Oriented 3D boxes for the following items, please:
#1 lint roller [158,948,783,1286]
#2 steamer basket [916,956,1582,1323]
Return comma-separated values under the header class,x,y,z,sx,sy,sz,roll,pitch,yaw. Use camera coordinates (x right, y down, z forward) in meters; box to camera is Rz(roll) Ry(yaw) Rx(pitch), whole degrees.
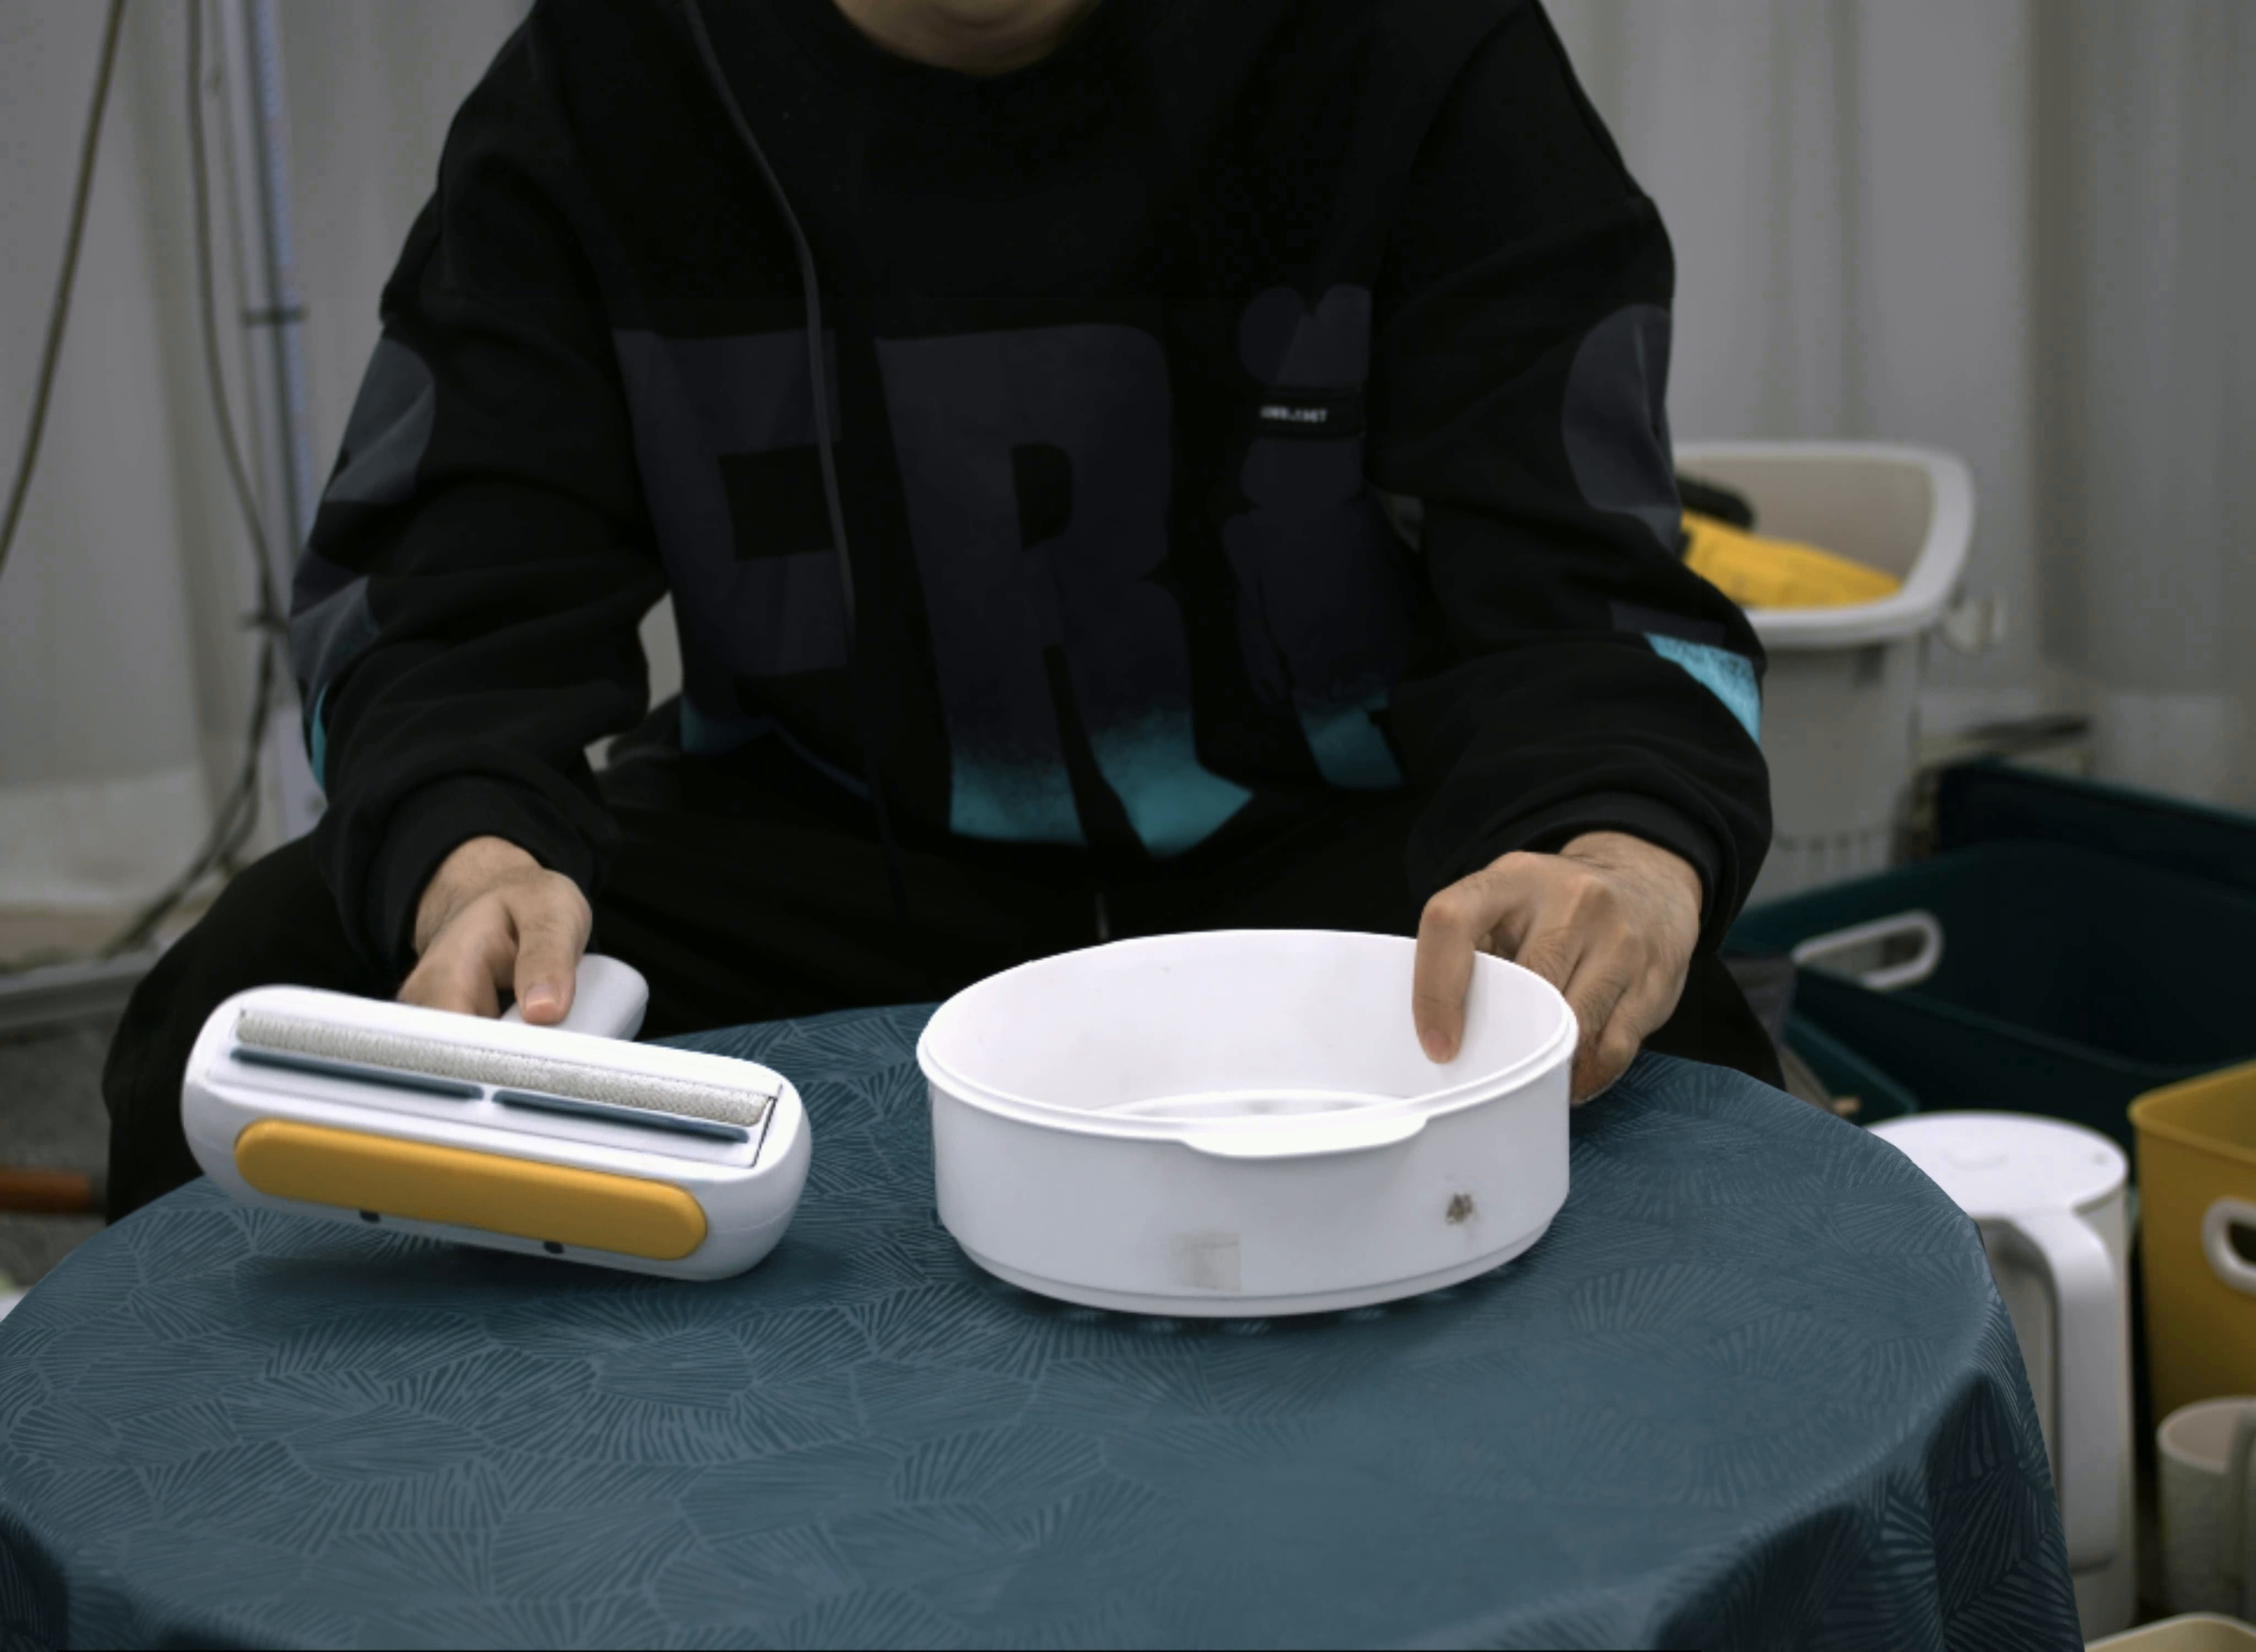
class,x,y,z,sx,sy,sz,roll,pitch,yaw
lint roller,-0.188,0.073,1.724,0.192,0.073,0.194,7,27,10
steamer basket,0.037,0.095,1.658,0.201,0.069,0.232,-3,12,-9
